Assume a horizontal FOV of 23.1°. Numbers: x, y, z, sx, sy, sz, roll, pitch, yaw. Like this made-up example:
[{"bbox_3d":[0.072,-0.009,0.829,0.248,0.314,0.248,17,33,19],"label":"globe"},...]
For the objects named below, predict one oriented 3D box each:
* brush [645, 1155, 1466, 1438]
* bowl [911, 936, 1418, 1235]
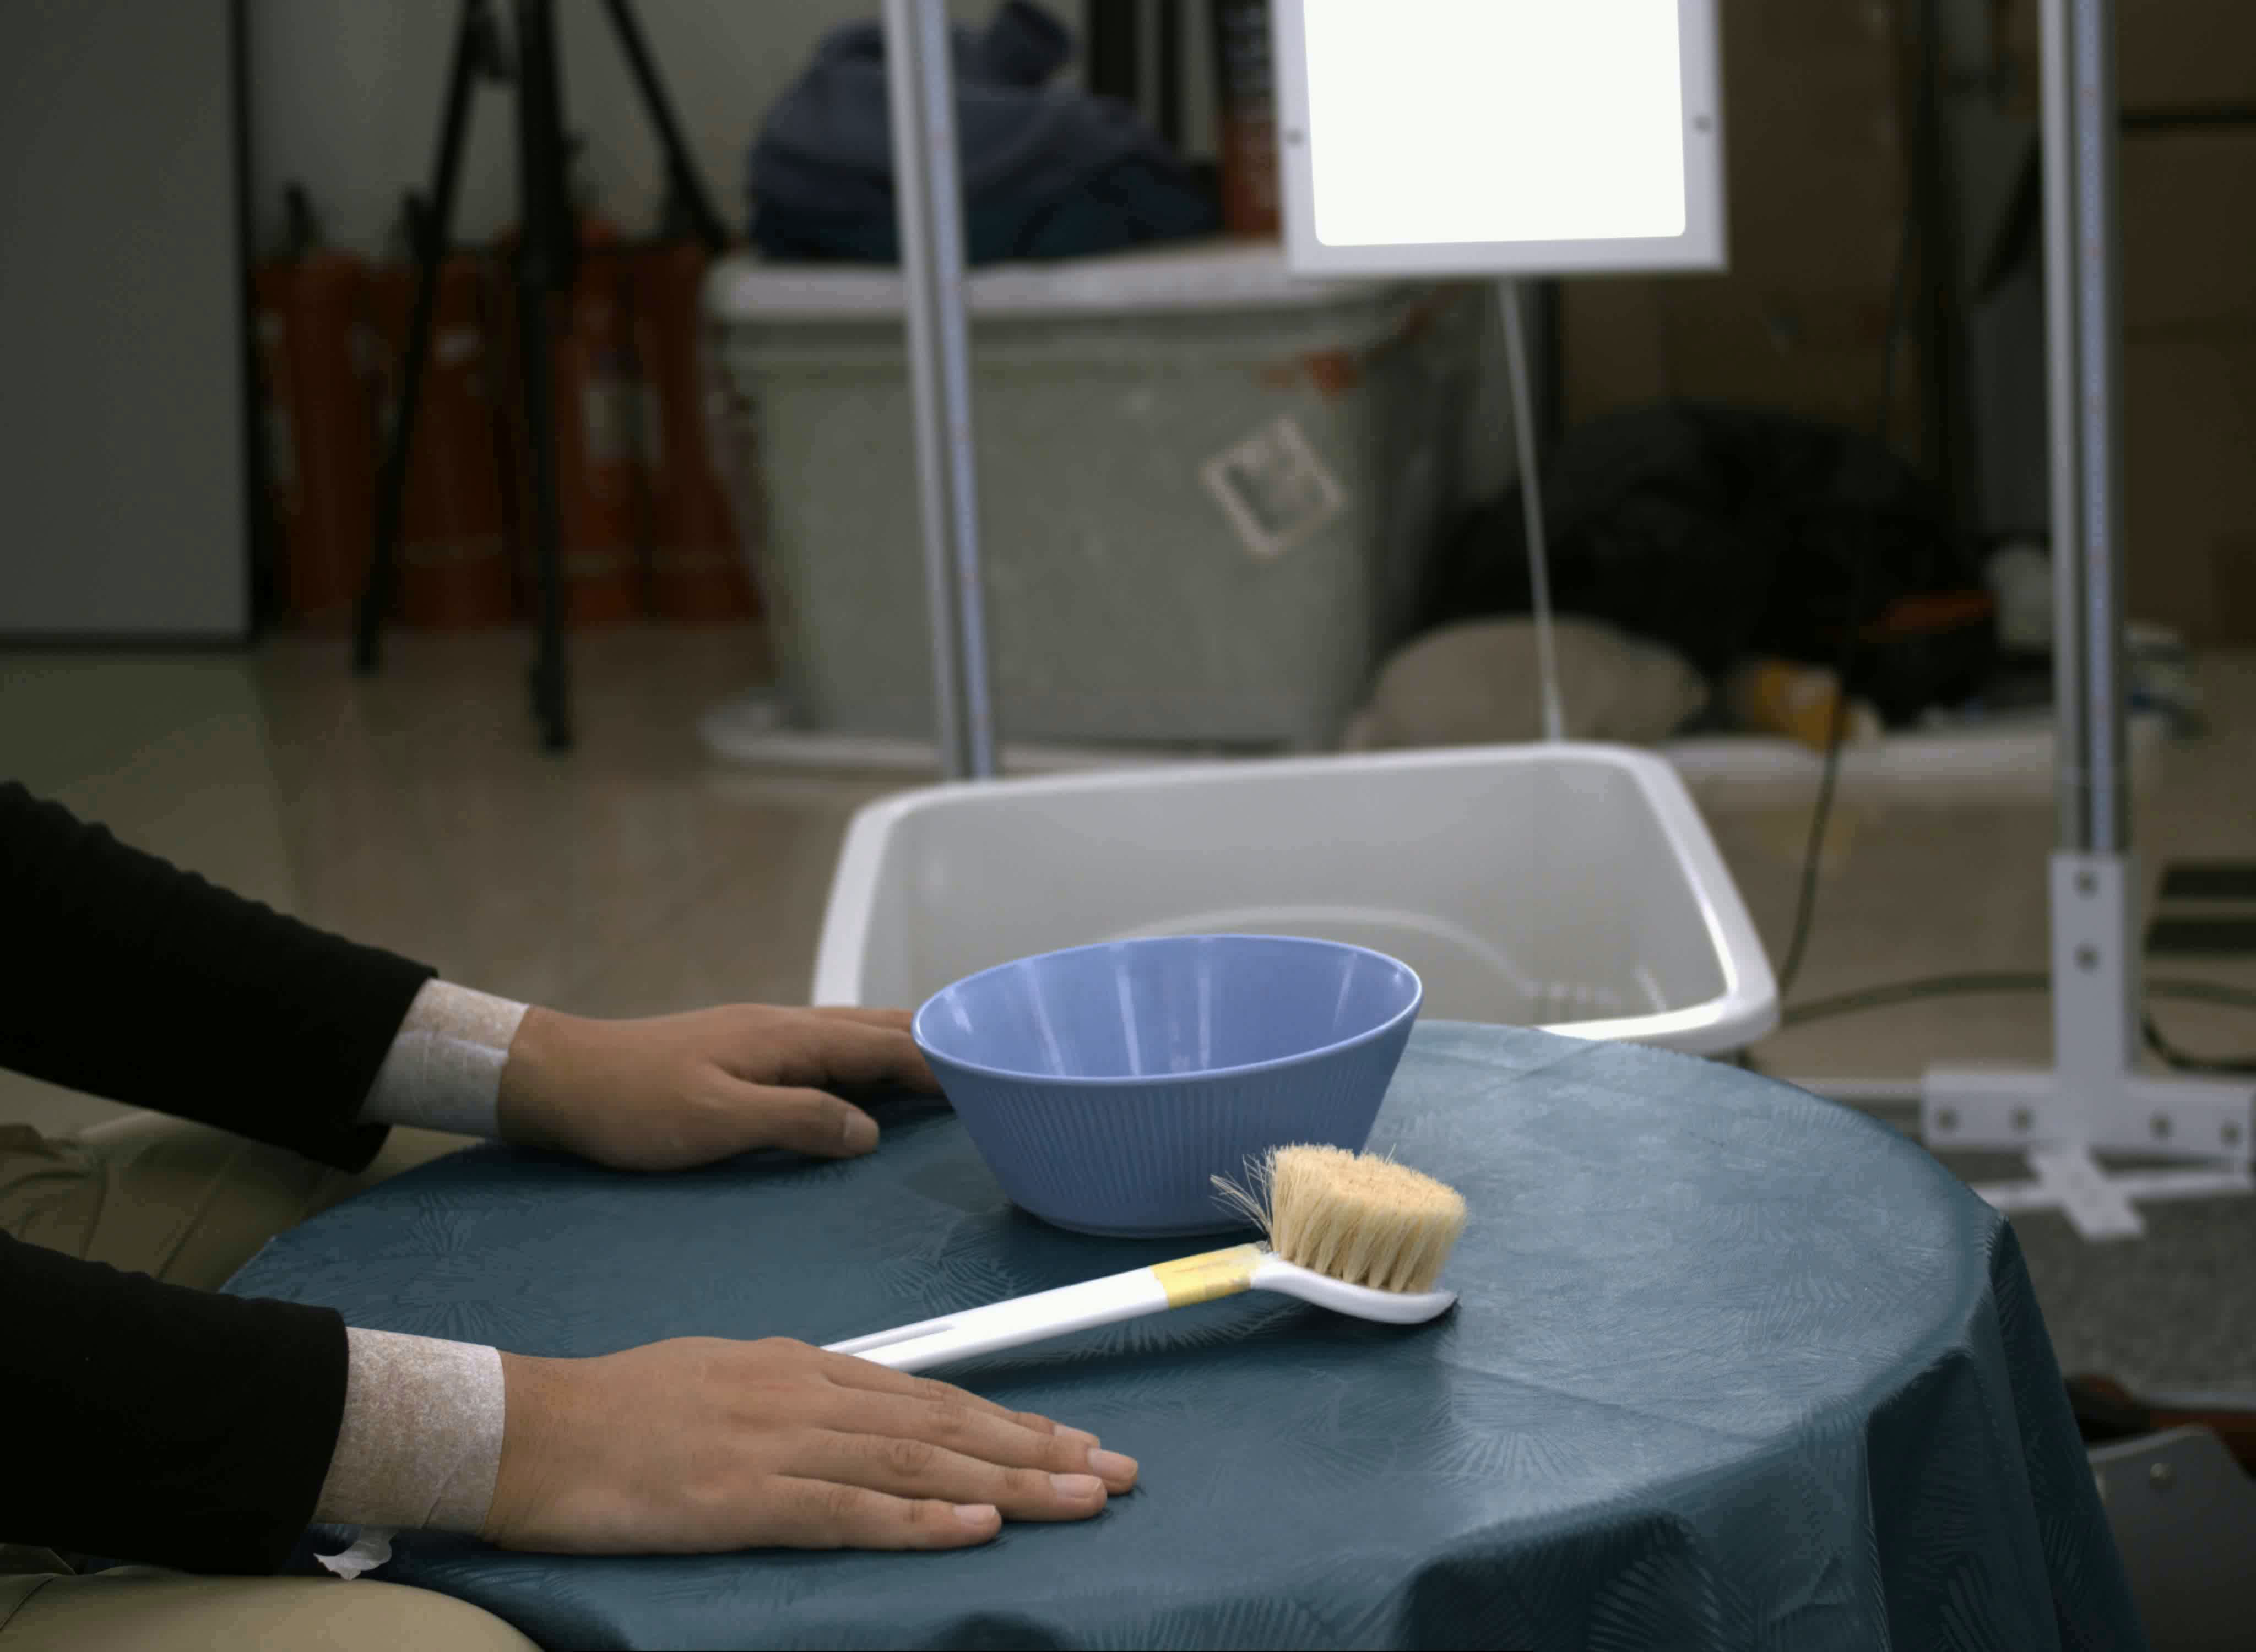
[{"bbox_3d":[-0.022,0.144,1.721,0.264,0.056,0.069,-8,9,-8],"label":"brush"},{"bbox_3d":[0.016,0.091,1.885,0.175,0.070,0.176,-6,13,0],"label":"bowl"}]
